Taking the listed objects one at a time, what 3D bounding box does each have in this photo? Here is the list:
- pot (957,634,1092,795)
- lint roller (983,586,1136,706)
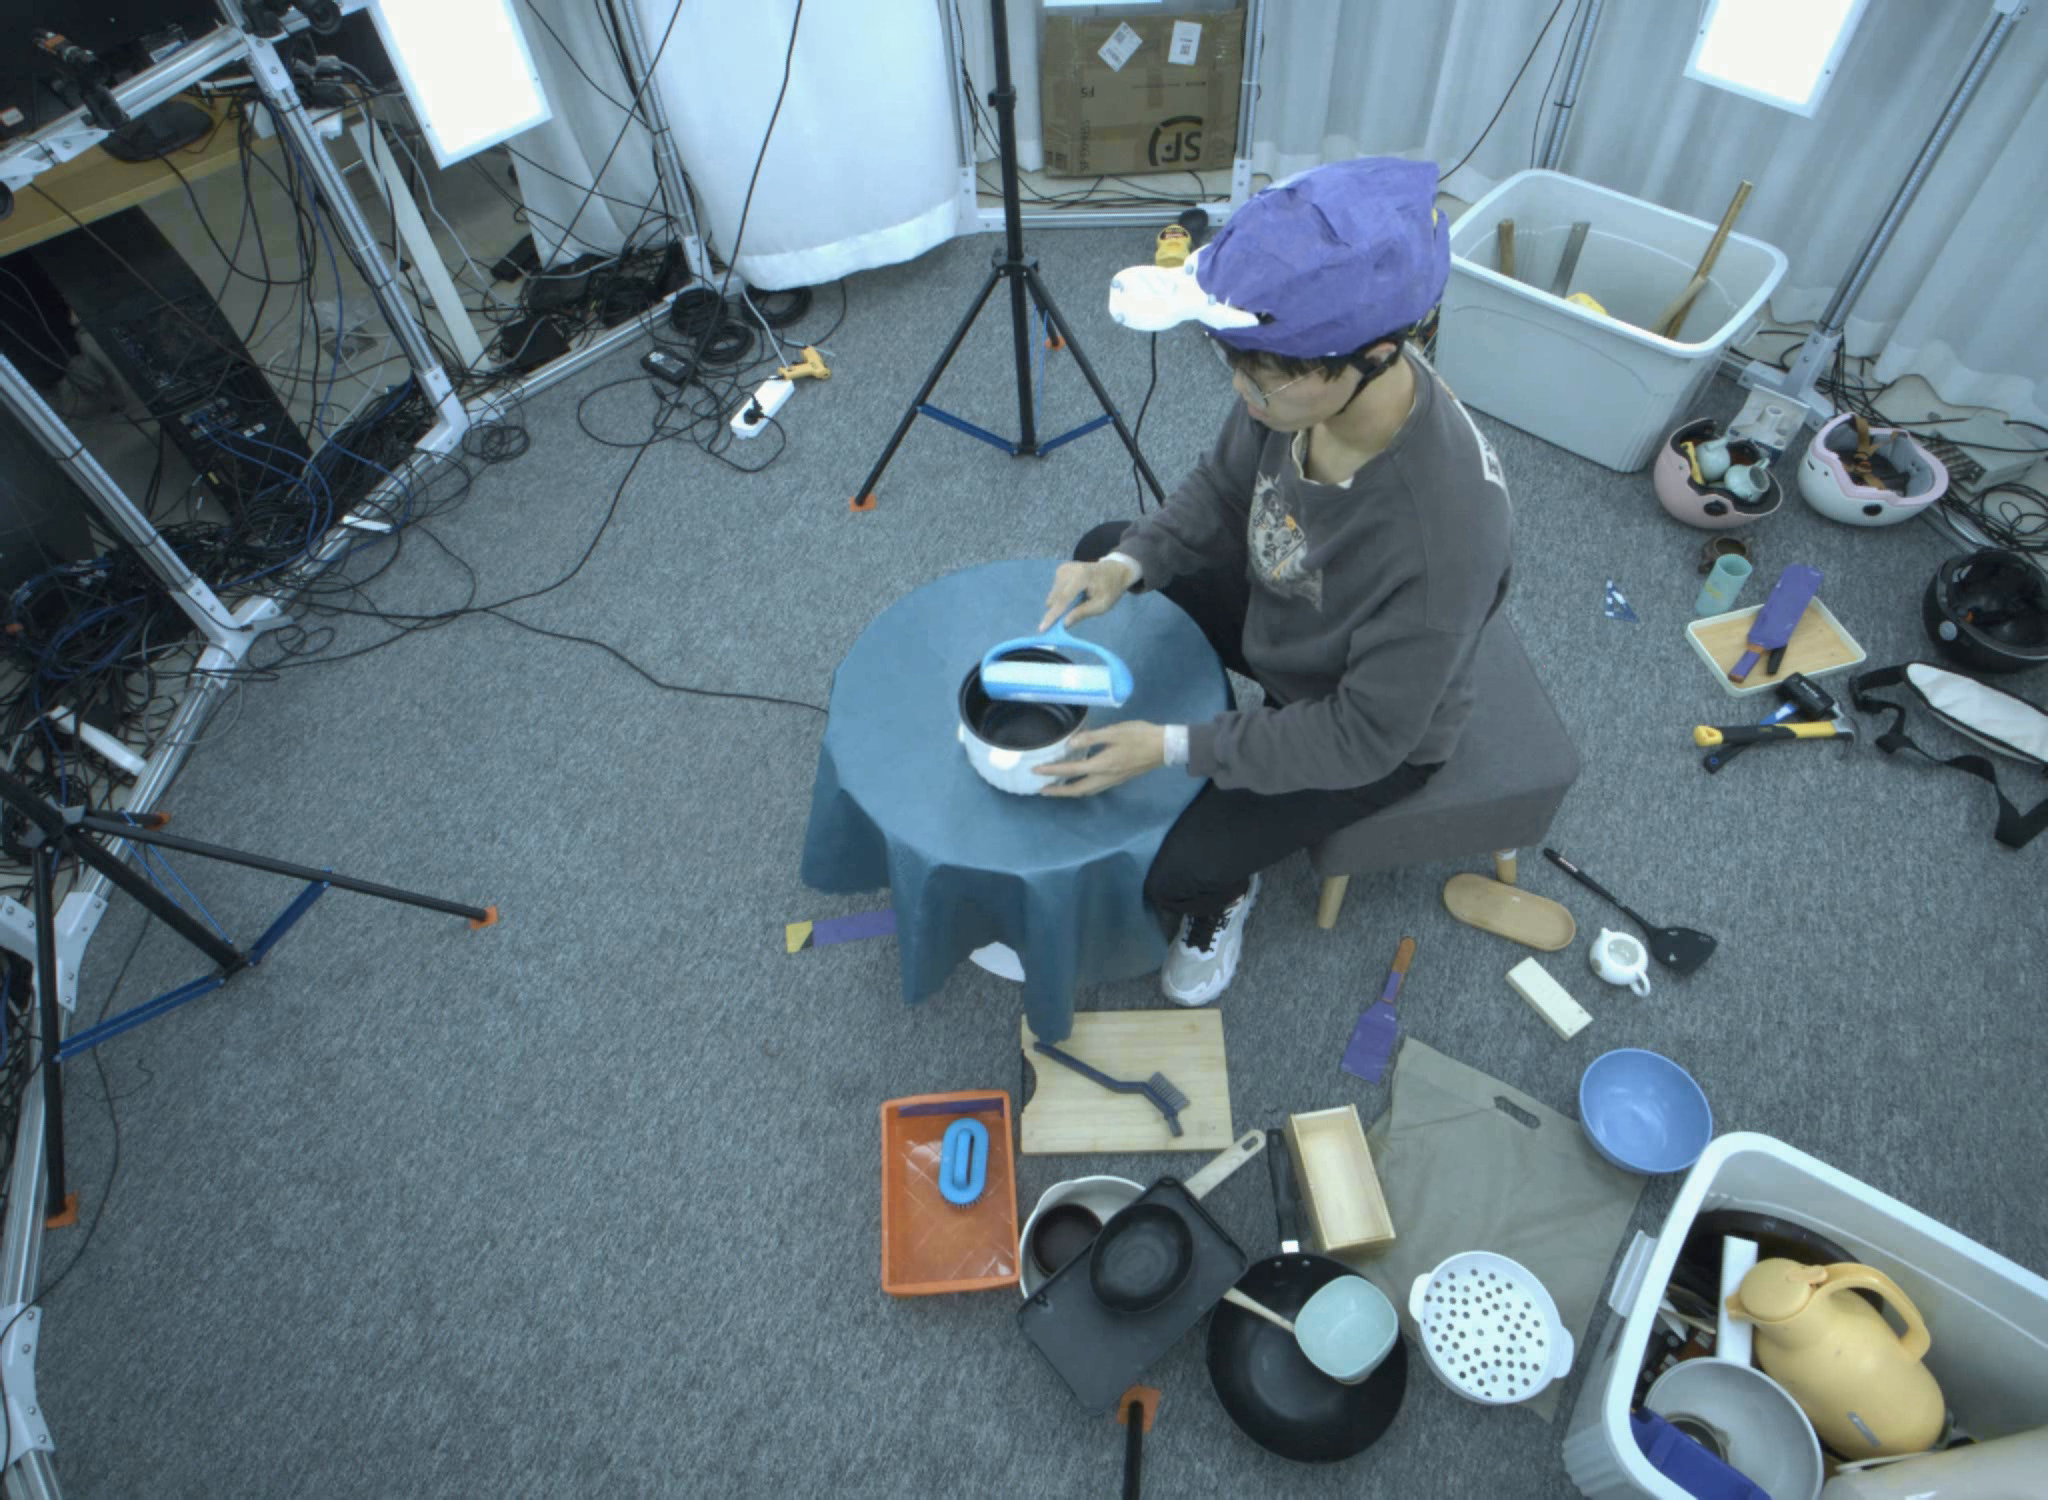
[{"bbox_3d":[-0.001,-0.033,1.722,0.189,0.144,0.239,11,54,7],"label":"pot"},{"bbox_3d":[0.053,-0.147,1.655,0.224,0.069,0.179,1,76,31],"label":"lint roller"}]
